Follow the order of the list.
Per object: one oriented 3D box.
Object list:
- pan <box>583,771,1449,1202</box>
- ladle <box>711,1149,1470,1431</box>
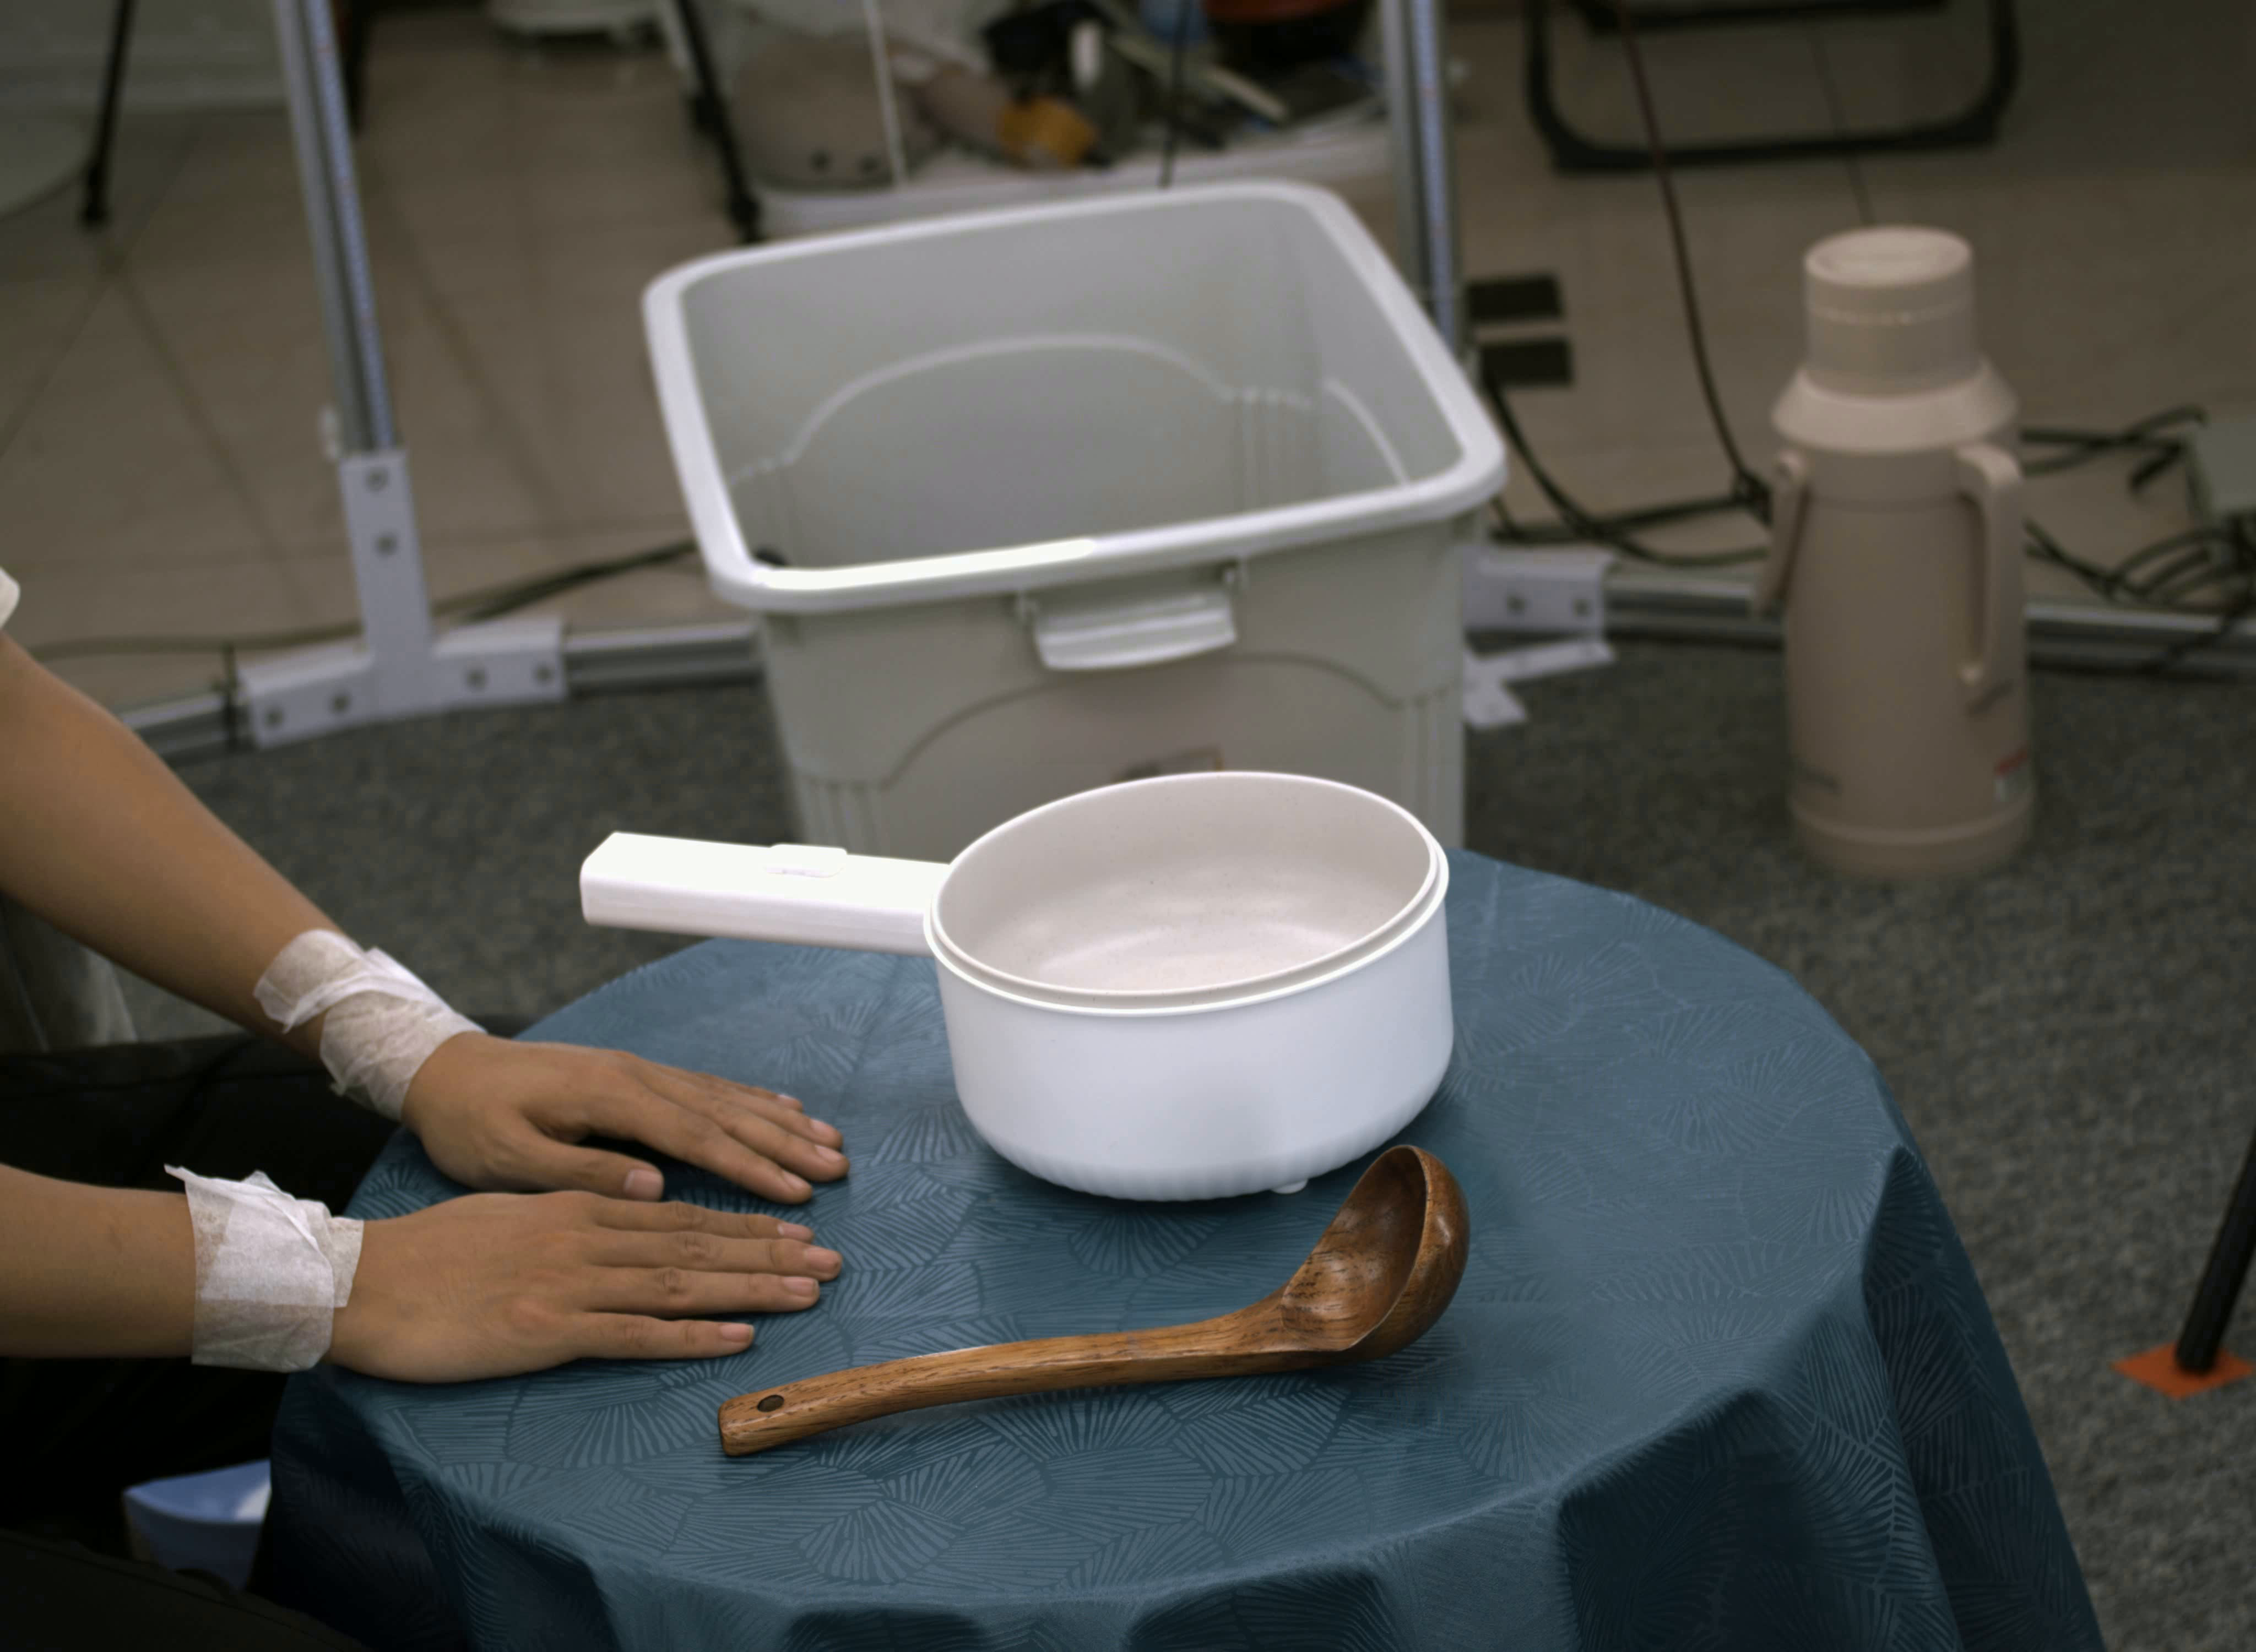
[{"bbox_3d":[-0.045,0.060,2.212,0.354,0.104,0.198,4,28,23],"label":"pan"},{"bbox_3d":[-0.015,0.165,2.003,0.273,0.078,0.080,-6,26,-1],"label":"ladle"}]
